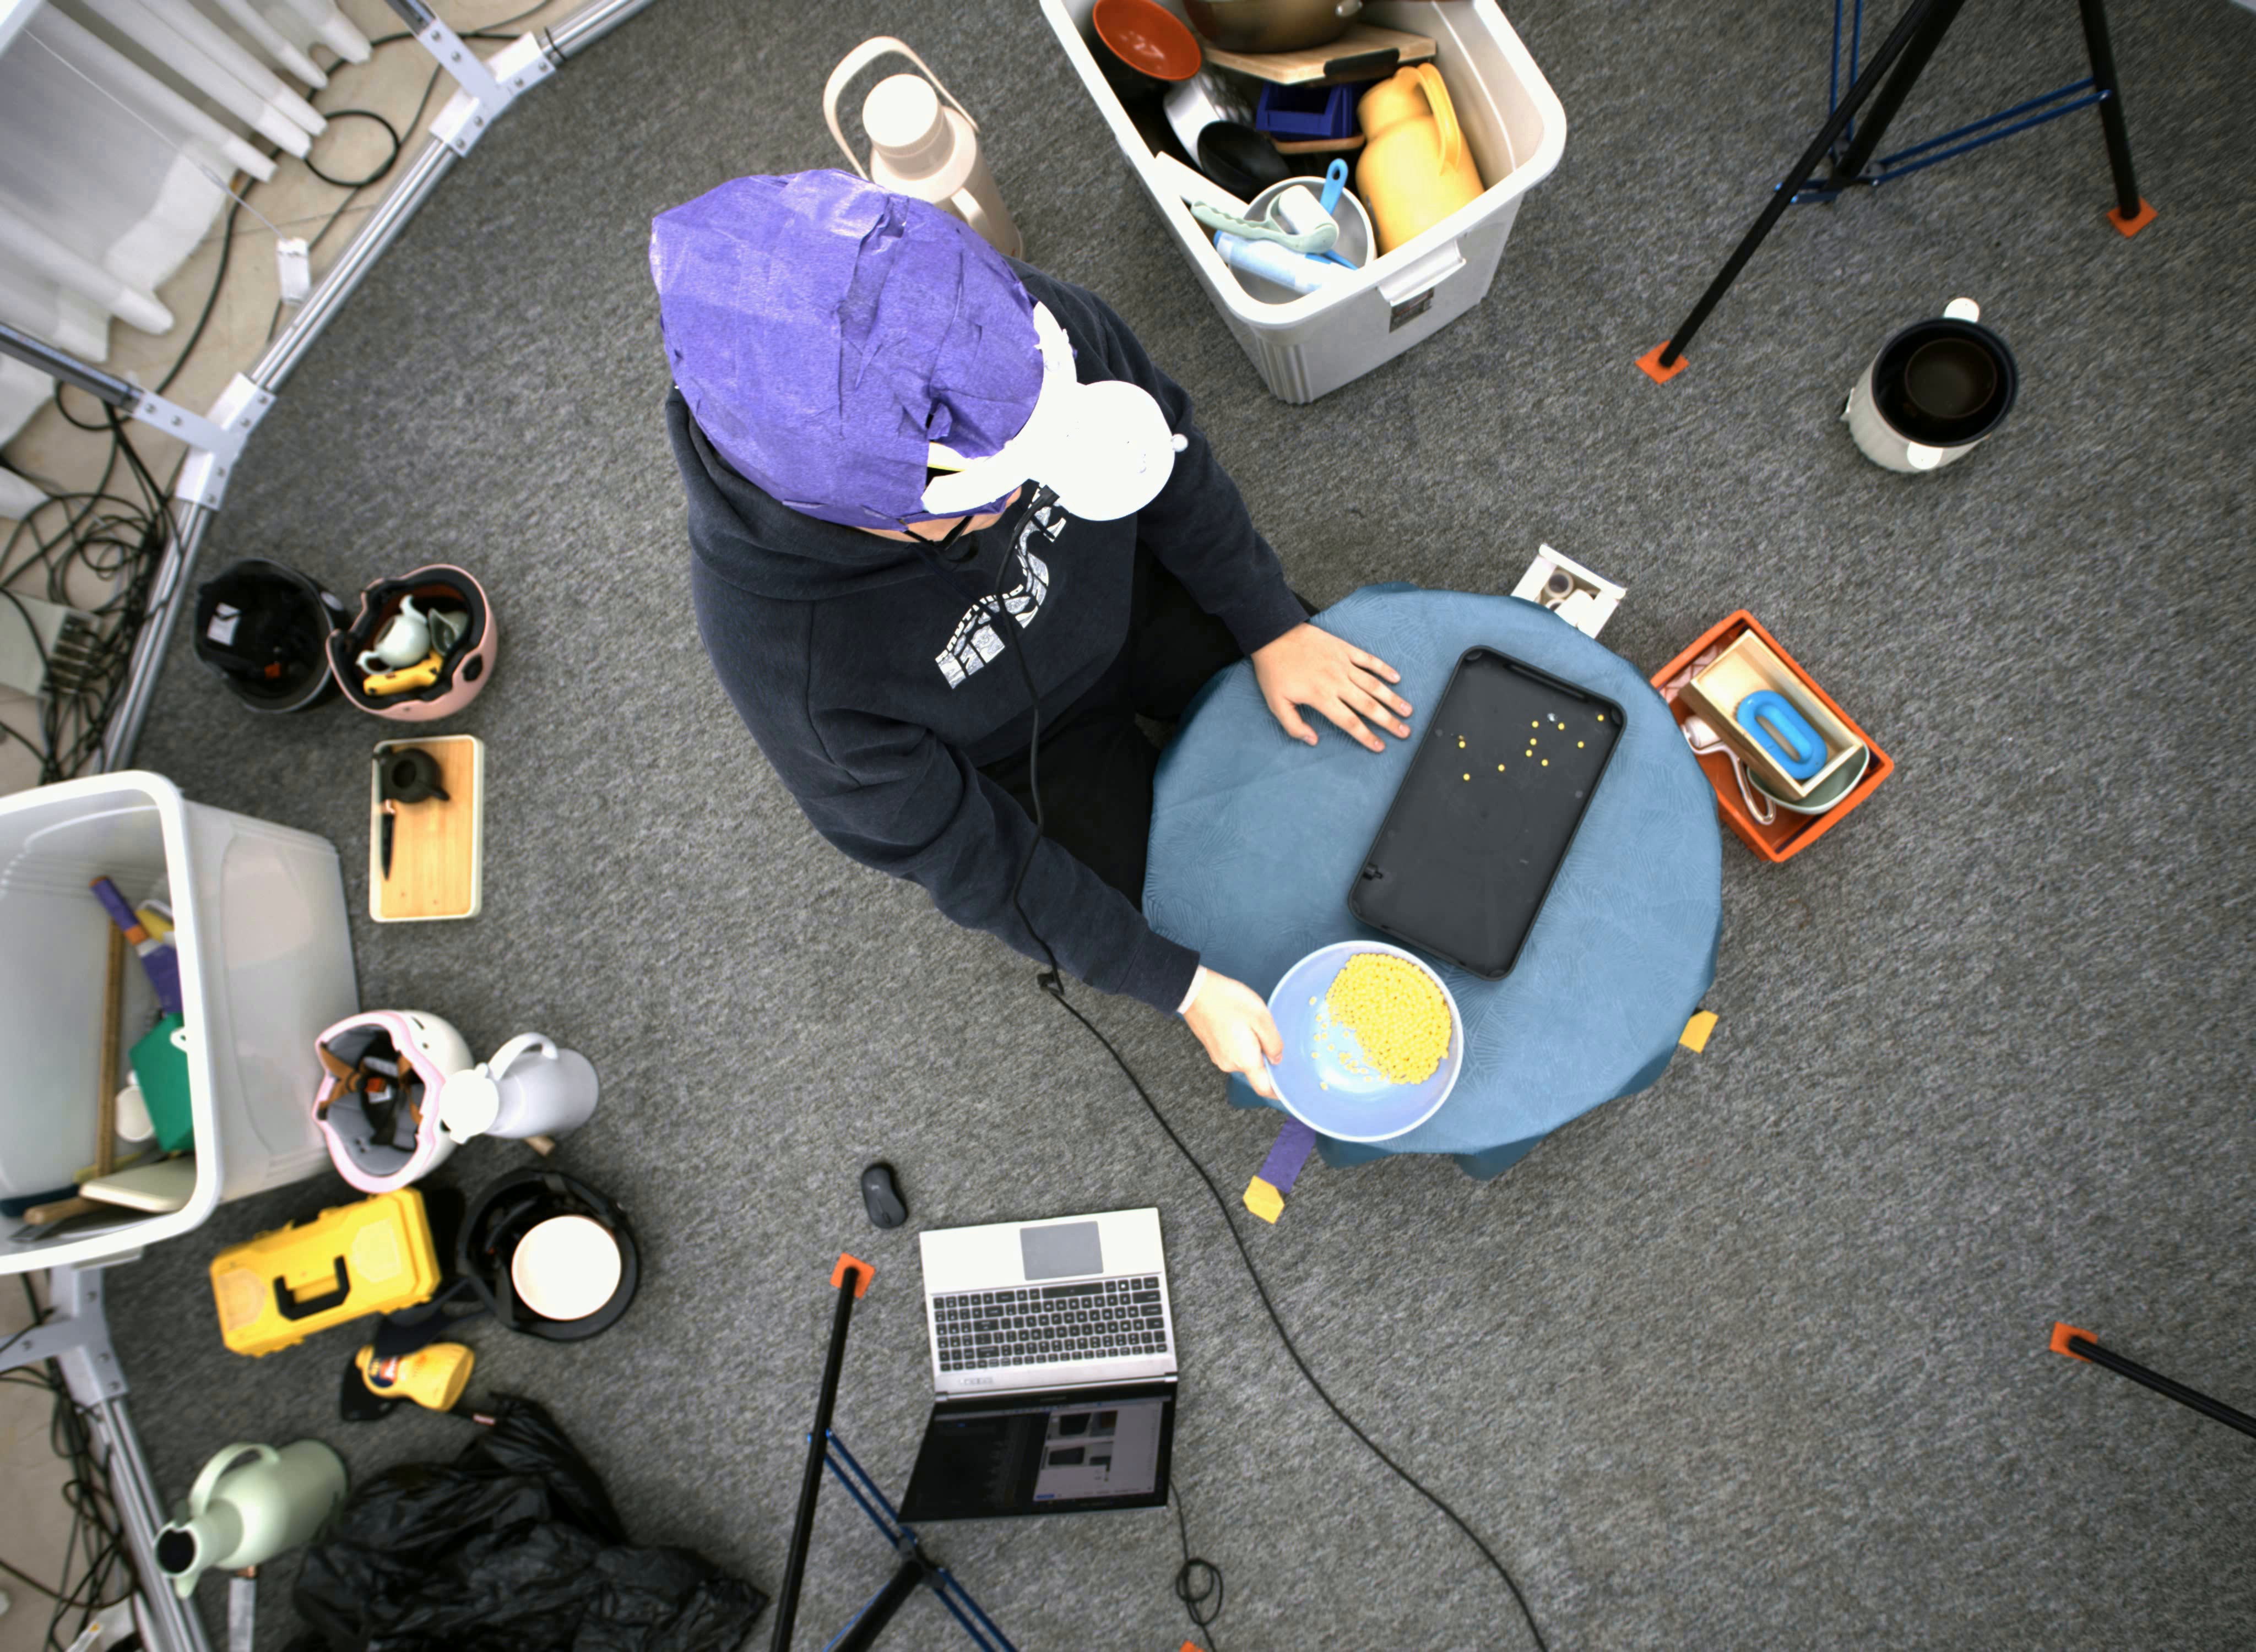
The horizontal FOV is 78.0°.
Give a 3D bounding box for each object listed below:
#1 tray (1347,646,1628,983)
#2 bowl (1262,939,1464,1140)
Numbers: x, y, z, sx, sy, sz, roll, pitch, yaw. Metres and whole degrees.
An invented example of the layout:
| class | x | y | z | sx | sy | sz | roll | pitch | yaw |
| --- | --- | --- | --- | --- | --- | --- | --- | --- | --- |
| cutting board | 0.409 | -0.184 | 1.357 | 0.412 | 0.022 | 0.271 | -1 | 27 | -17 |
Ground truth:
| class | x | y | z | sx | sy | sz | roll | pitch | yaw |
| --- | --- | --- | --- | --- | --- | --- | --- | --- | --- |
| tray | 0.371 | -0.015 | 1.427 | 0.184 | 0.037 | 0.318 | 26 | 91 | 12 |
| bowl | 0.237 | 0.213 | 1.401 | 0.197 | 0.095 | 0.195 | -1 | 85 | 11 |
